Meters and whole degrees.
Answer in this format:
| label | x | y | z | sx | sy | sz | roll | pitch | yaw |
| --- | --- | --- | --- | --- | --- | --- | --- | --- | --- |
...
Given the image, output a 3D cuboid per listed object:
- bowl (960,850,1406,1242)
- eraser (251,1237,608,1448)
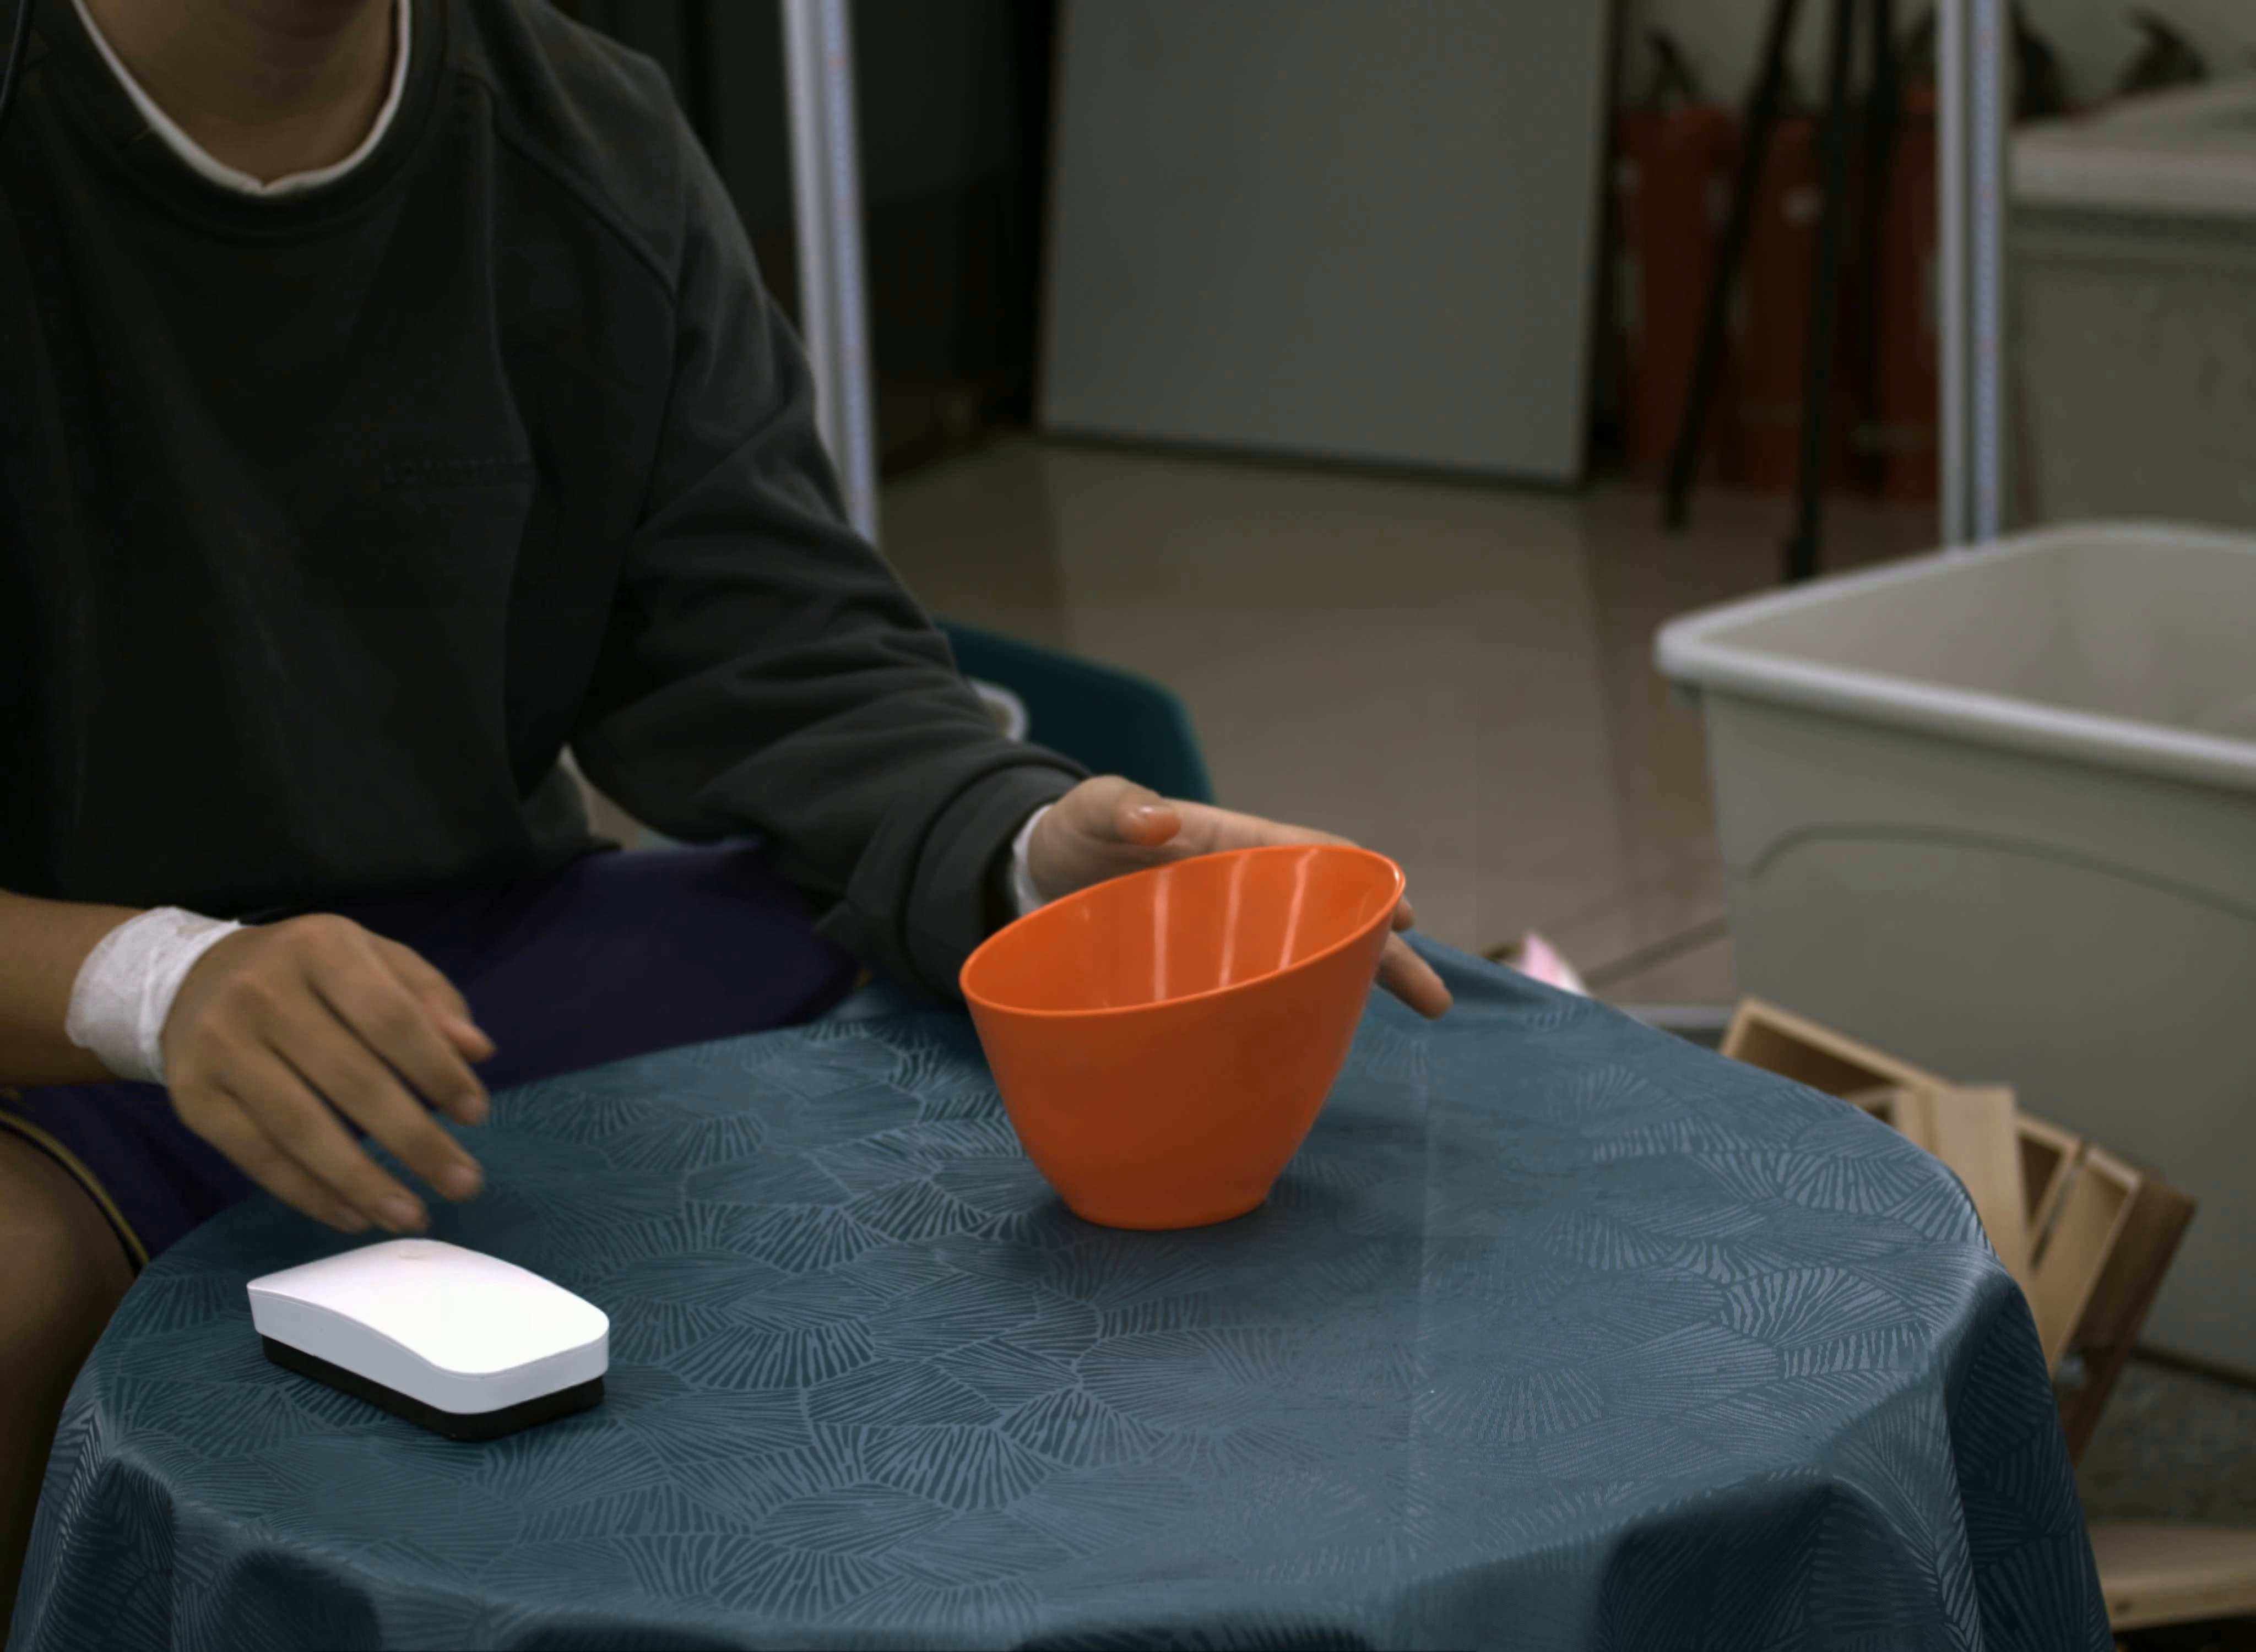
| label | x | y | z | sx | sy | sz | roll | pitch | yaw |
| --- | --- | --- | --- | --- | --- | --- | --- | --- | --- |
| bowl | 0.021 | 0.074 | 1.747 | 0.146 | 0.106 | 0.148 | -5 | 13 | 0 |
| eraser | -0.210 | 0.152 | 1.634 | 0.062 | 0.035 | 0.132 | -13 | 17 | -35 |
